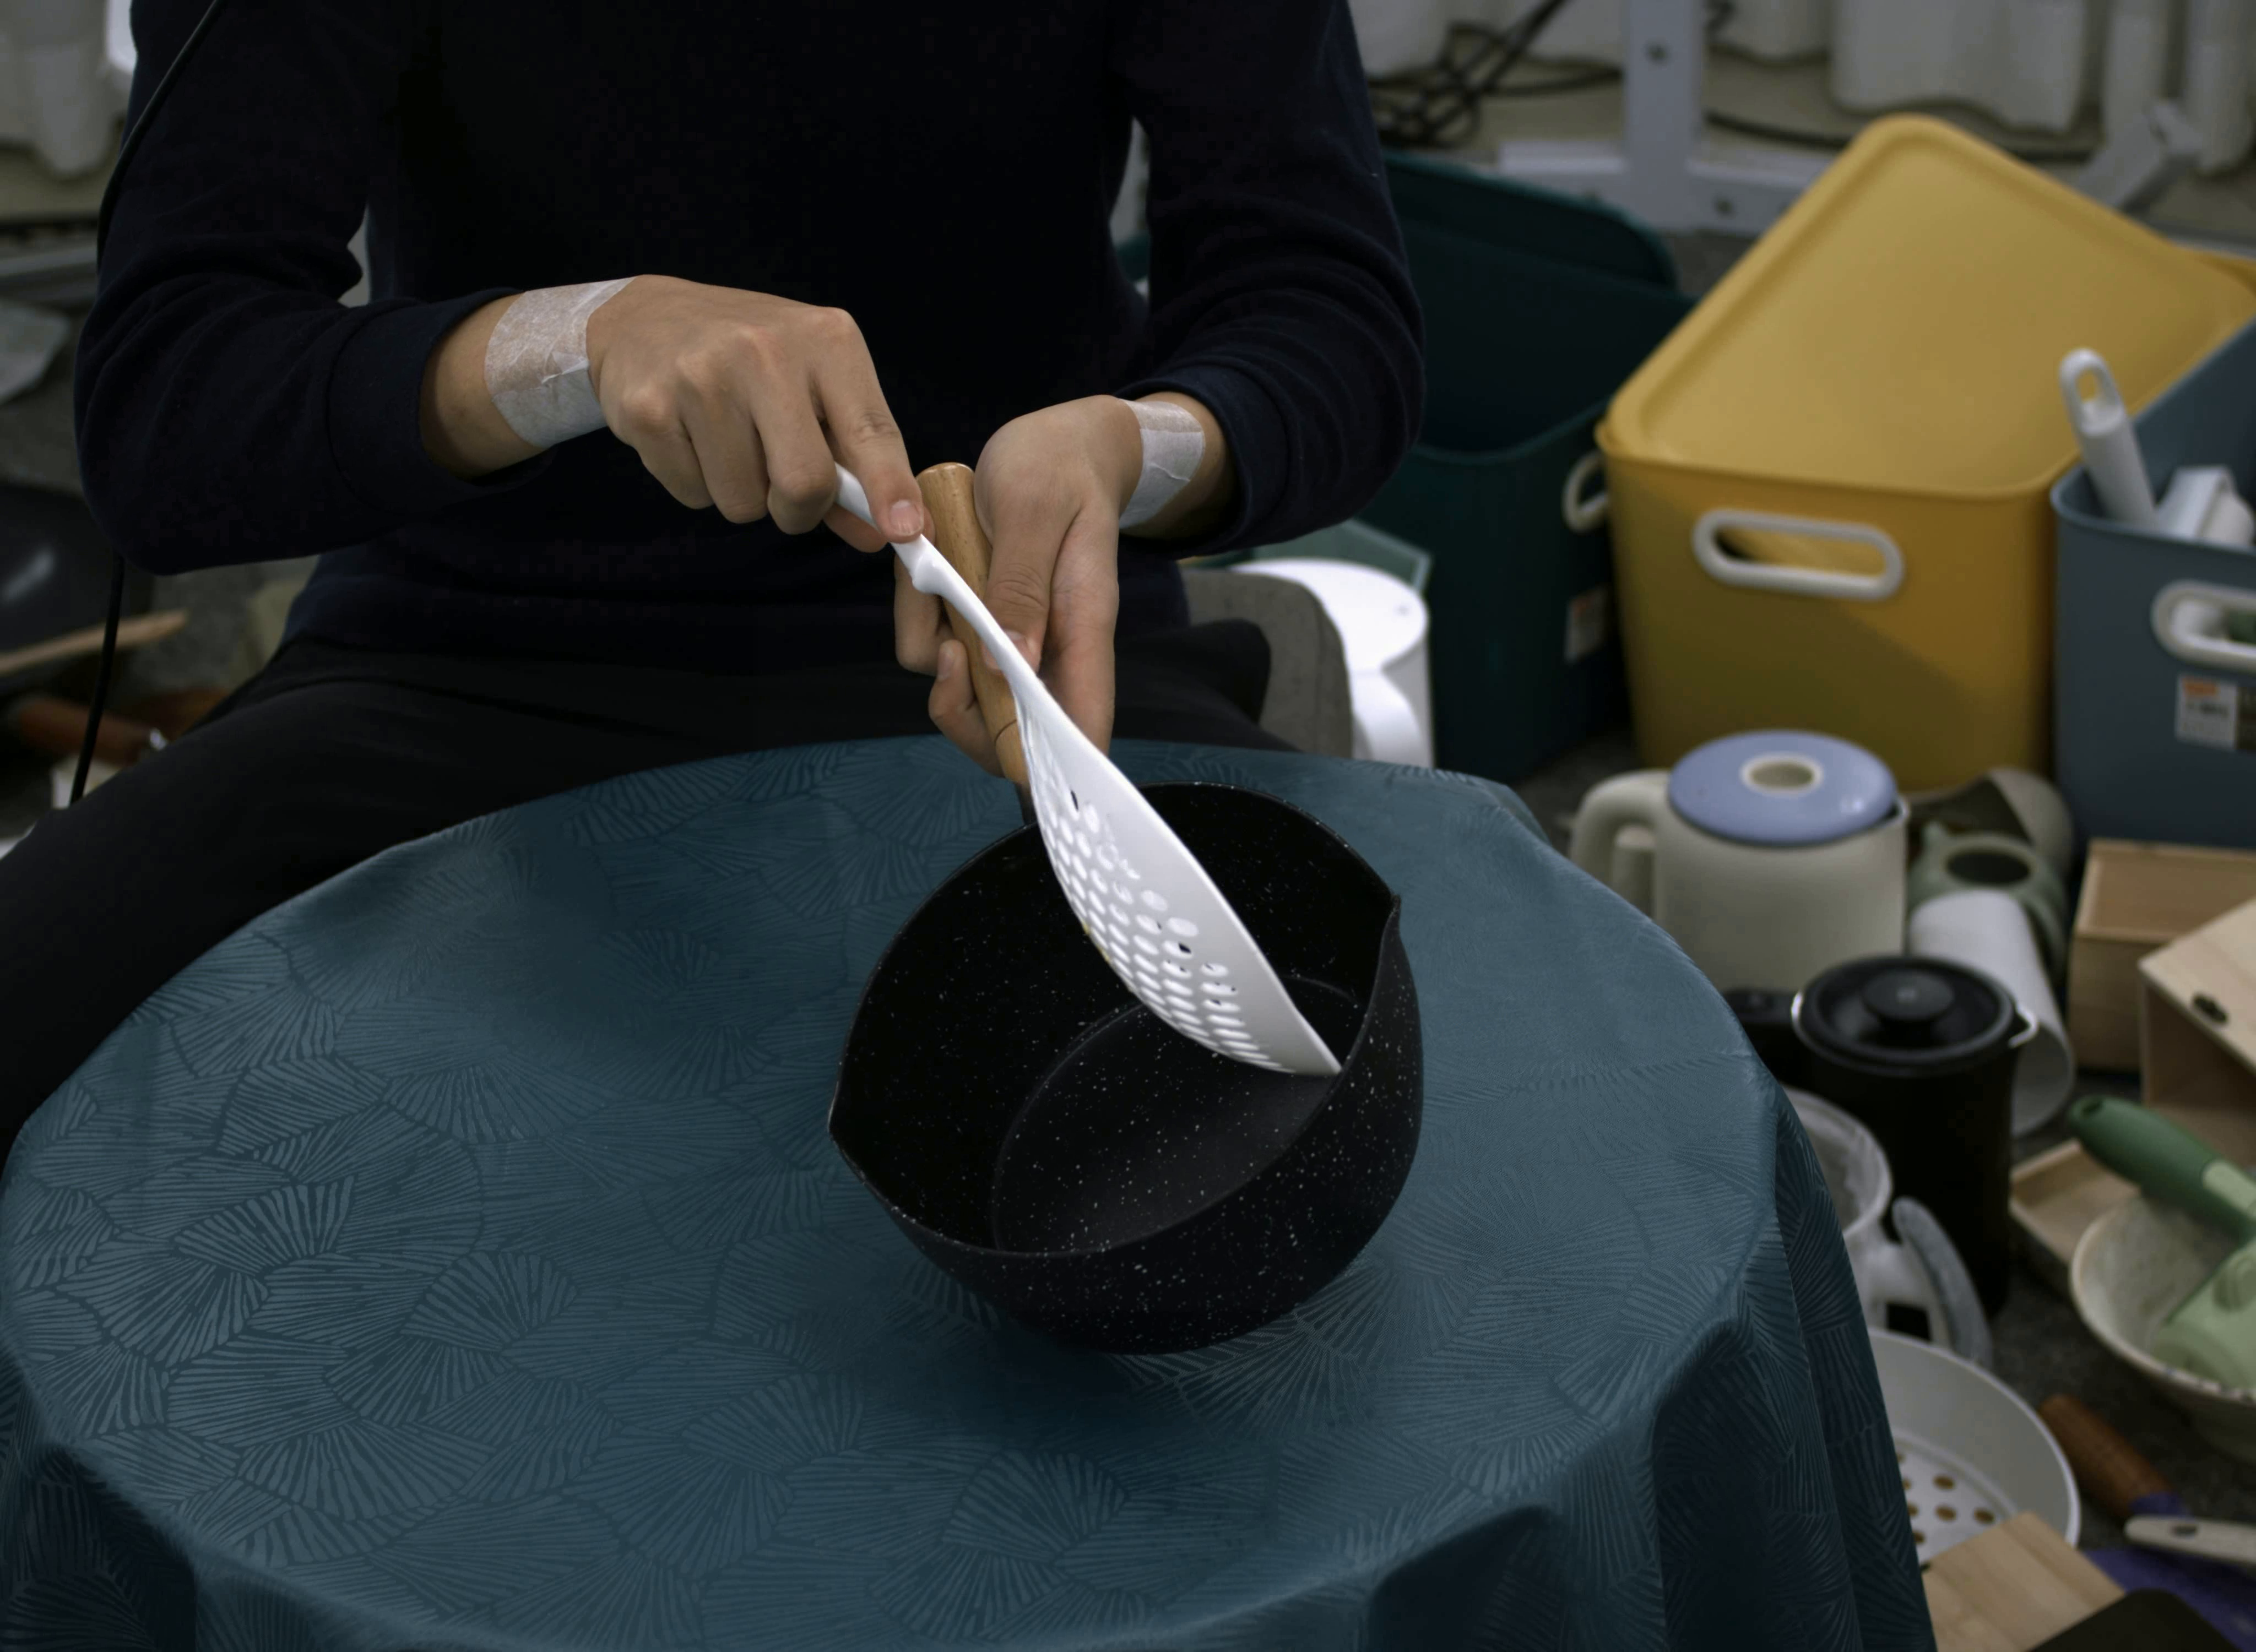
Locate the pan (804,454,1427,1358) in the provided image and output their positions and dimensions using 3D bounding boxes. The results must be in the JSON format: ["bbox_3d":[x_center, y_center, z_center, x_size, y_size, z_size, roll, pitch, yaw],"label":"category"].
[{"bbox_3d":[-0.014,0.023,1.835,0.206,0.107,0.348,-26,45,6],"label":"pan"}]

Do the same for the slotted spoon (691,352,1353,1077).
[{"bbox_3d":[-0.041,-0.044,1.779,0.050,0.135,0.352,-35,56,1],"label":"slotted spoon"}]
